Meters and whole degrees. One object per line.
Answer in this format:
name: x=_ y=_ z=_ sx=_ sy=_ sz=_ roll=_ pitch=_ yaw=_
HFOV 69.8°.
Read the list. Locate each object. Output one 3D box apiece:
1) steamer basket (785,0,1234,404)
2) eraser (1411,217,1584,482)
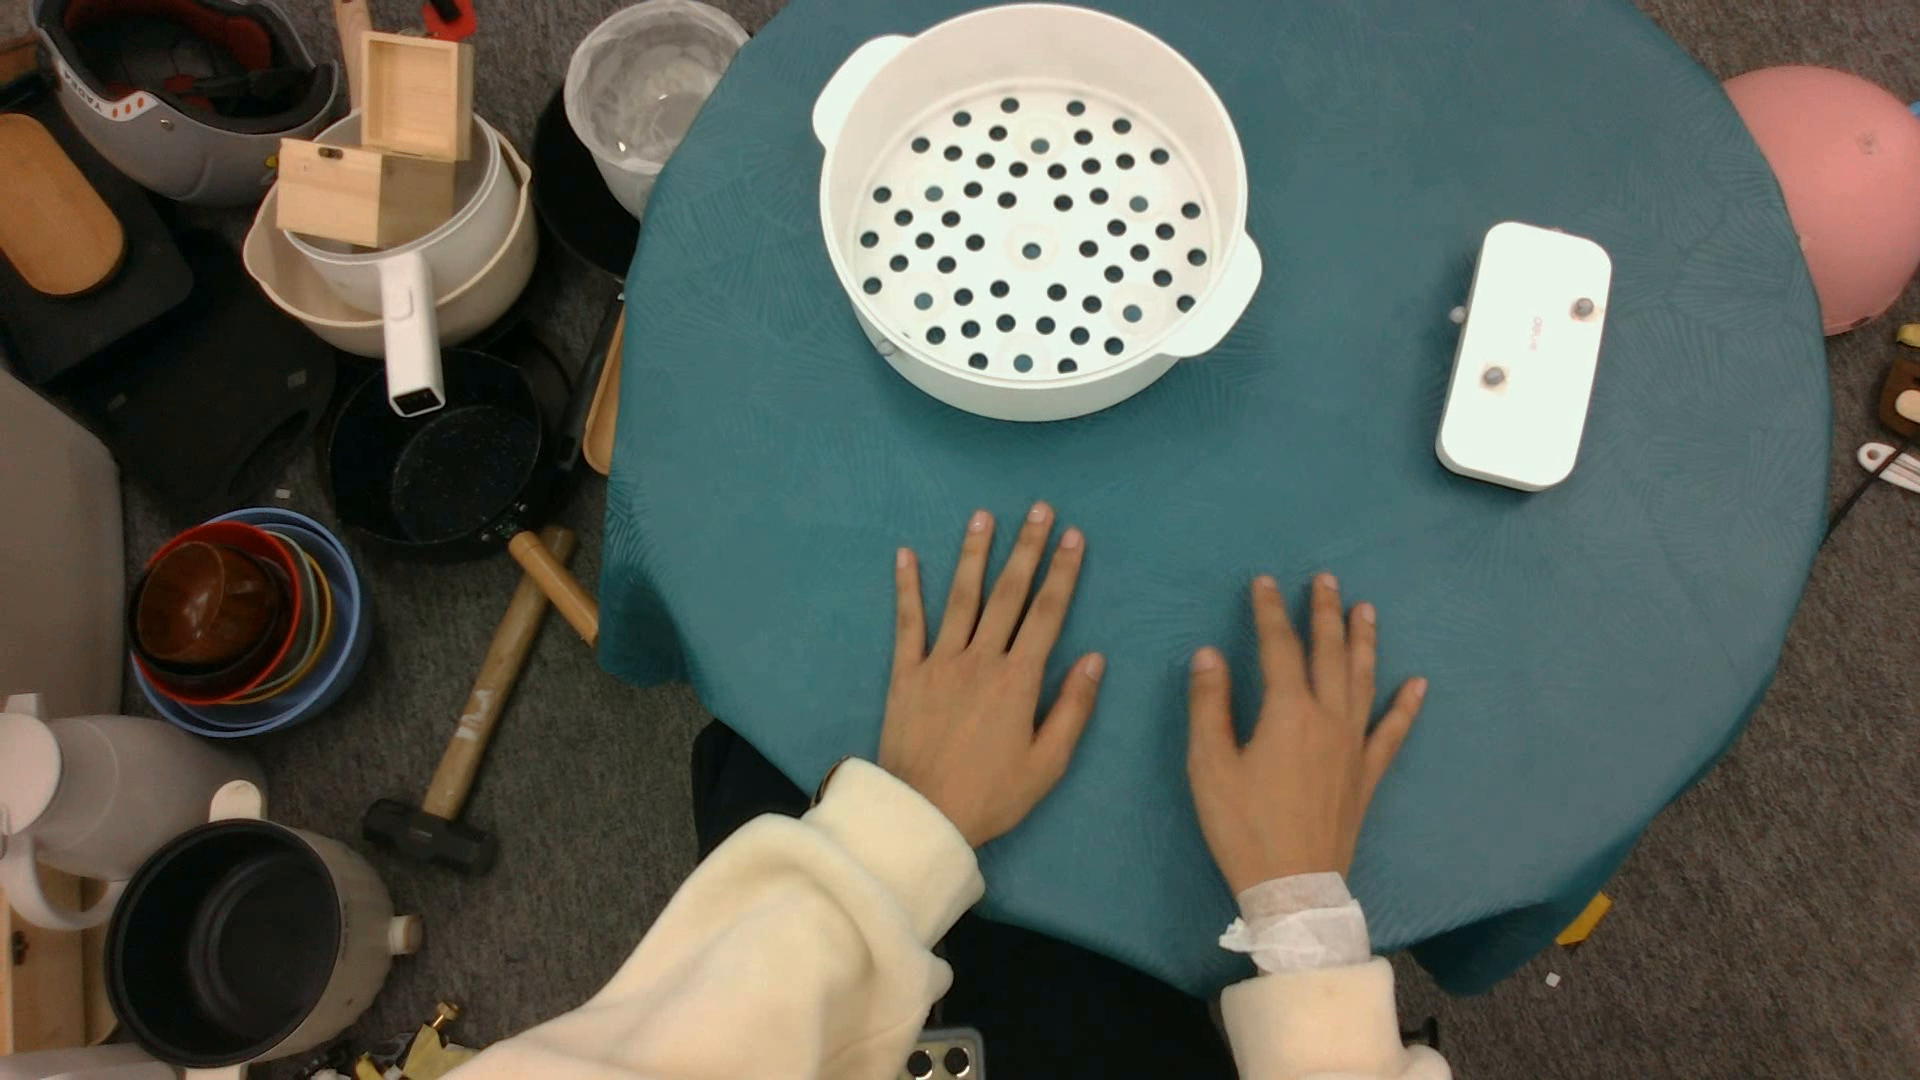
steamer basket: x=0.022 y=-0.165 z=0.678 sx=0.230 sy=0.069 sz=0.202 roll=32 pitch=77 yaw=12
eraser: x=0.259 y=-0.094 z=0.668 sx=0.063 sy=0.034 sz=0.131 roll=17 pitch=74 yaw=6
